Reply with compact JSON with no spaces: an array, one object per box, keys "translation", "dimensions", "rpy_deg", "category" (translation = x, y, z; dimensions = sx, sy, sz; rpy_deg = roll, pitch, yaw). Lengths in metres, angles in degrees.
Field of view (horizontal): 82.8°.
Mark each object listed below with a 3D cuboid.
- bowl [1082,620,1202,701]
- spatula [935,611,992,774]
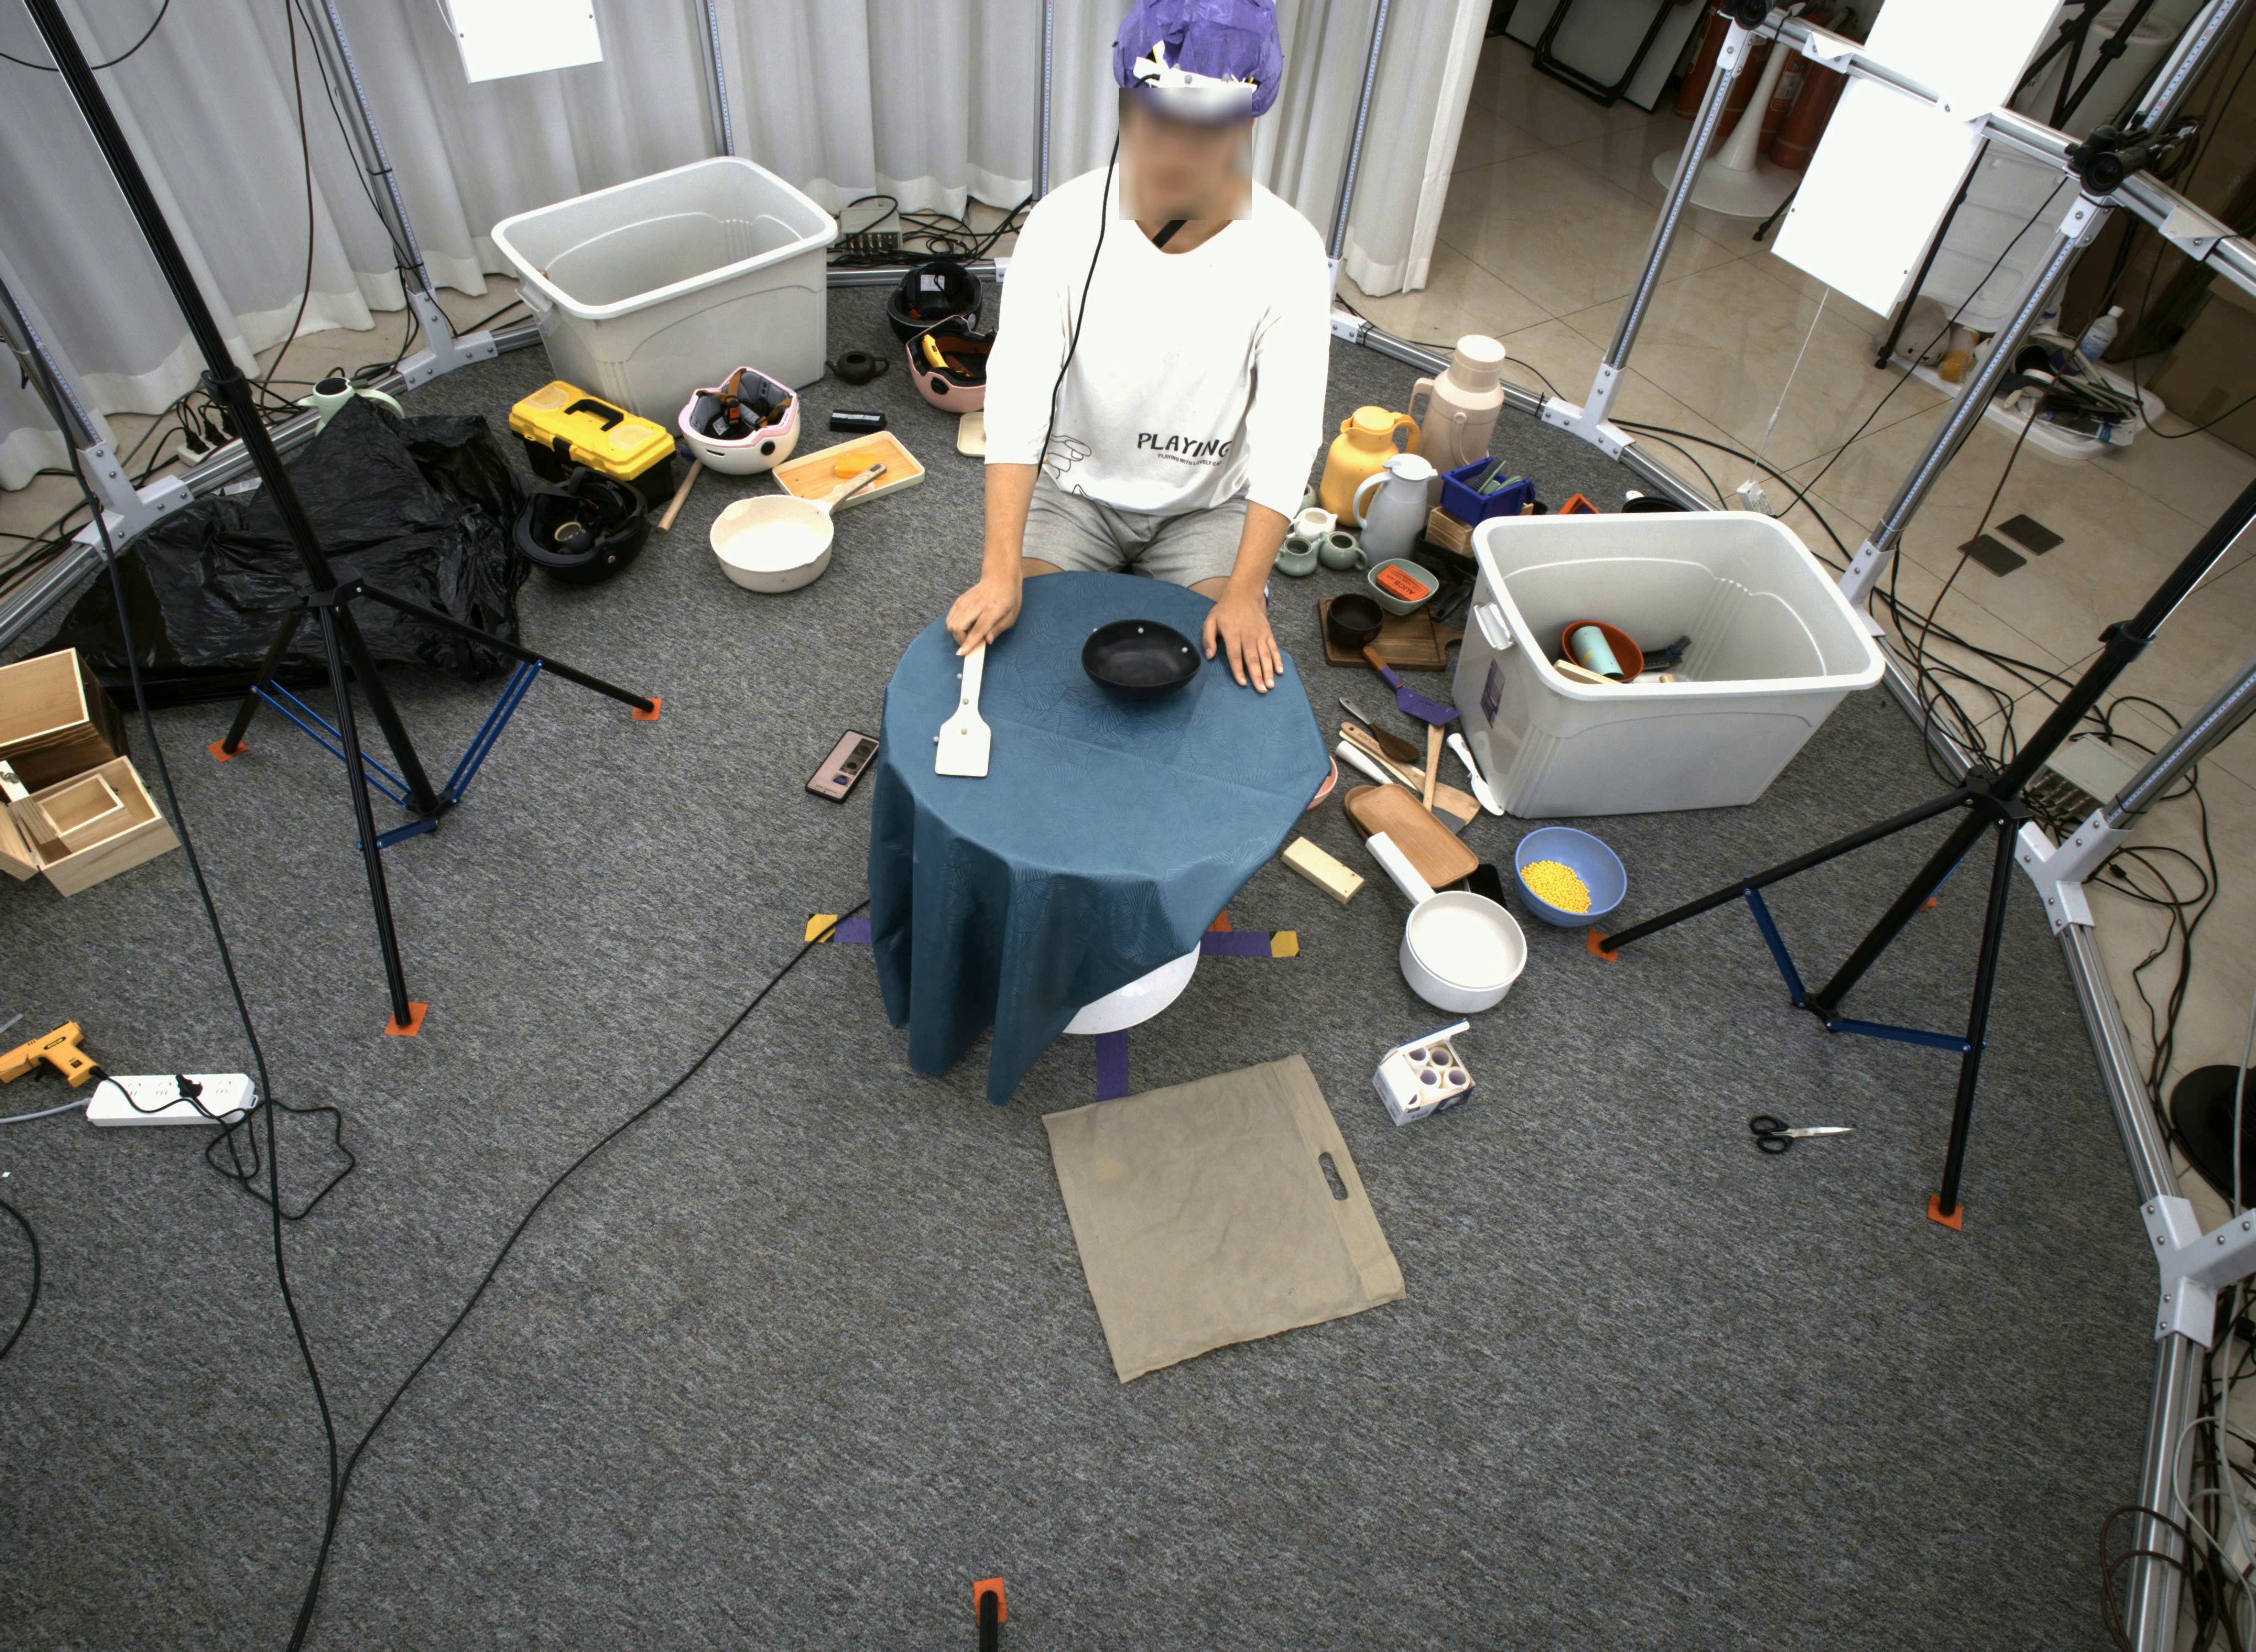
[{"translation":[0.018,-0.225,1.820],"dimensions":[0.170,0.065,0.141],"rpy_deg":[-3,49,-10],"category":"bowl"},{"translation":[-0.218,-0.191,1.793],"dimensions":[0.072,0.010,0.300],"rpy_deg":[2,55,-1],"category":"spatula"}]
